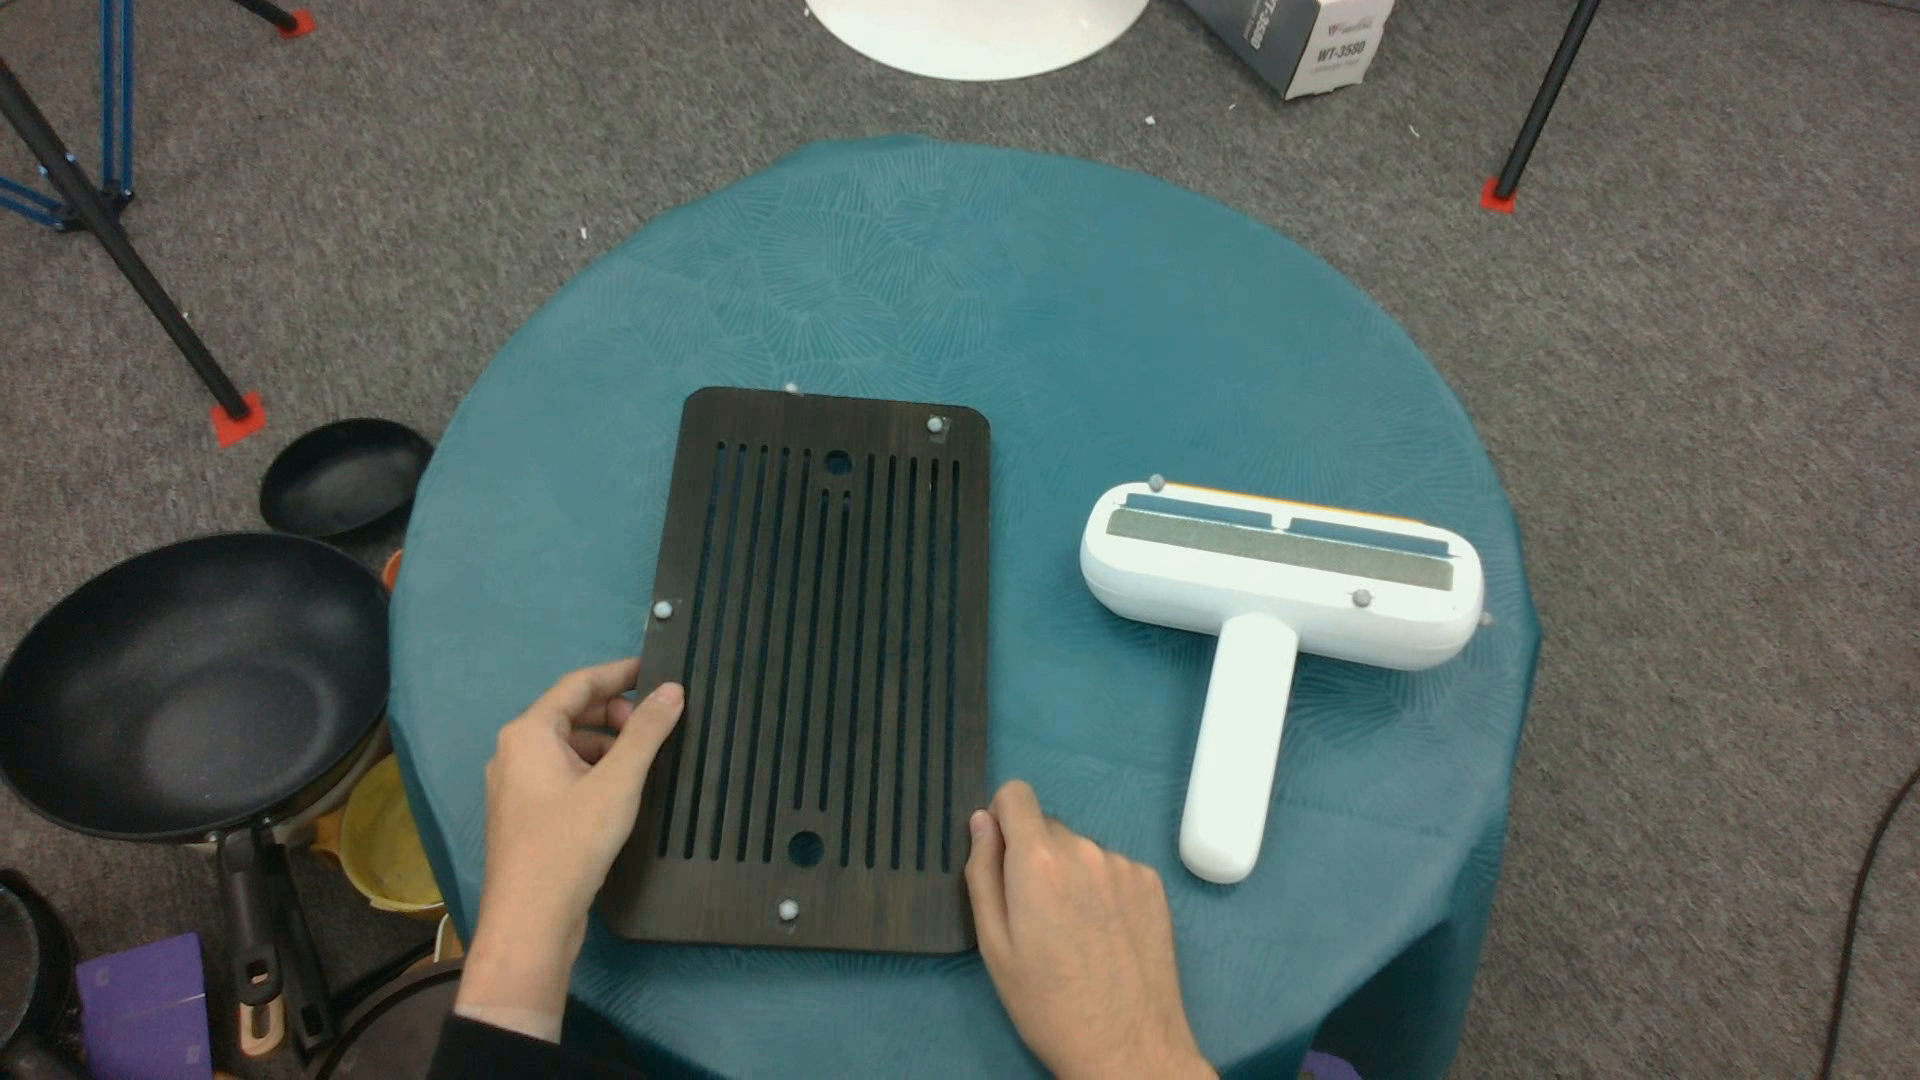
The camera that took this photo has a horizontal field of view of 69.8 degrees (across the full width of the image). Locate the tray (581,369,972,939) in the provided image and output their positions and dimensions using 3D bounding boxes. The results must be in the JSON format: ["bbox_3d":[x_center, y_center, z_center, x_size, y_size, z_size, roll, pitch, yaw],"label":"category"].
[{"bbox_3d":[-0.080,0.044,0.687,0.170,0.018,0.307,4,58,-5],"label":"tray"}]

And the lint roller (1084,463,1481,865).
[{"bbox_3d":[0.137,0.060,0.662,0.193,0.074,0.193,16,60,14],"label":"lint roller"}]
